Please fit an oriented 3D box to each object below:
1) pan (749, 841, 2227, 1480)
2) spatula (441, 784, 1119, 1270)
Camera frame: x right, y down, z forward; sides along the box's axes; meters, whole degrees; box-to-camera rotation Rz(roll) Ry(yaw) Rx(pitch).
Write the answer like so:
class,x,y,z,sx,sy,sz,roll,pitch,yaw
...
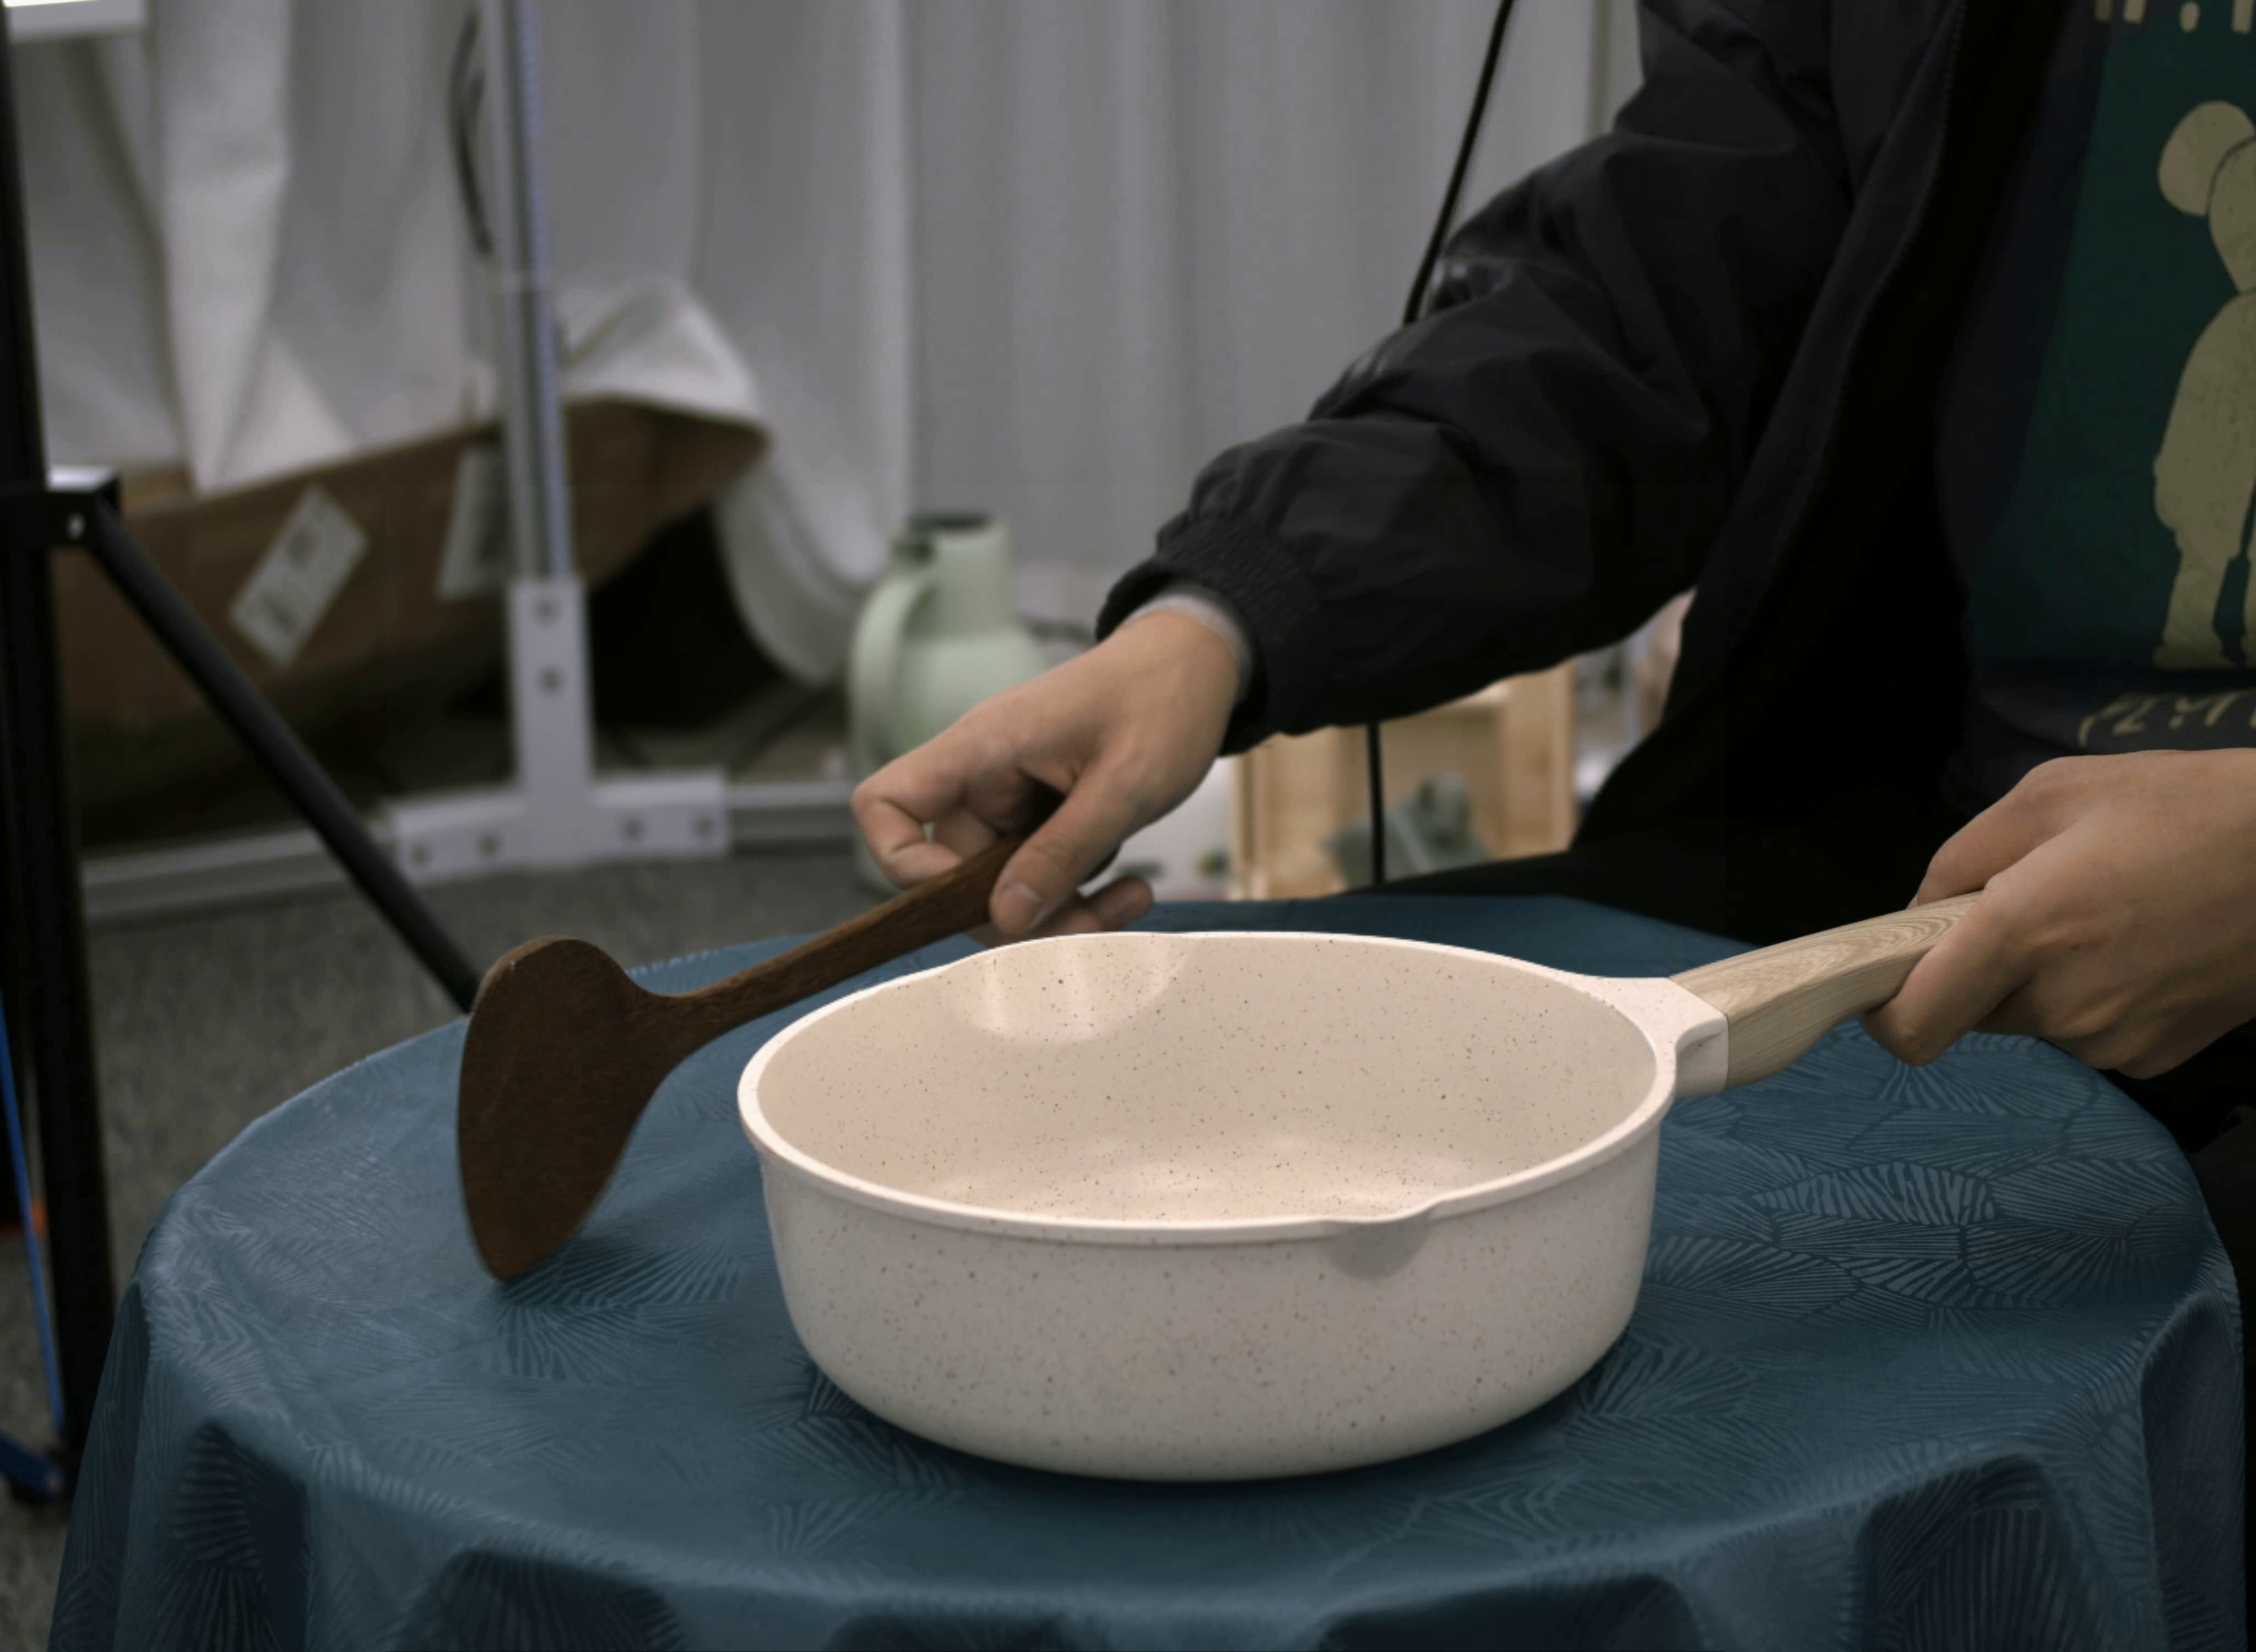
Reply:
class,x,y,z,sx,sy,sz,roll,pitch,yaw
pan,0.112,0.084,1.441,0.427,0.102,0.268,-8,15,-17
spatula,-0.097,0.041,1.645,0.016,0.096,0.379,11,19,28
